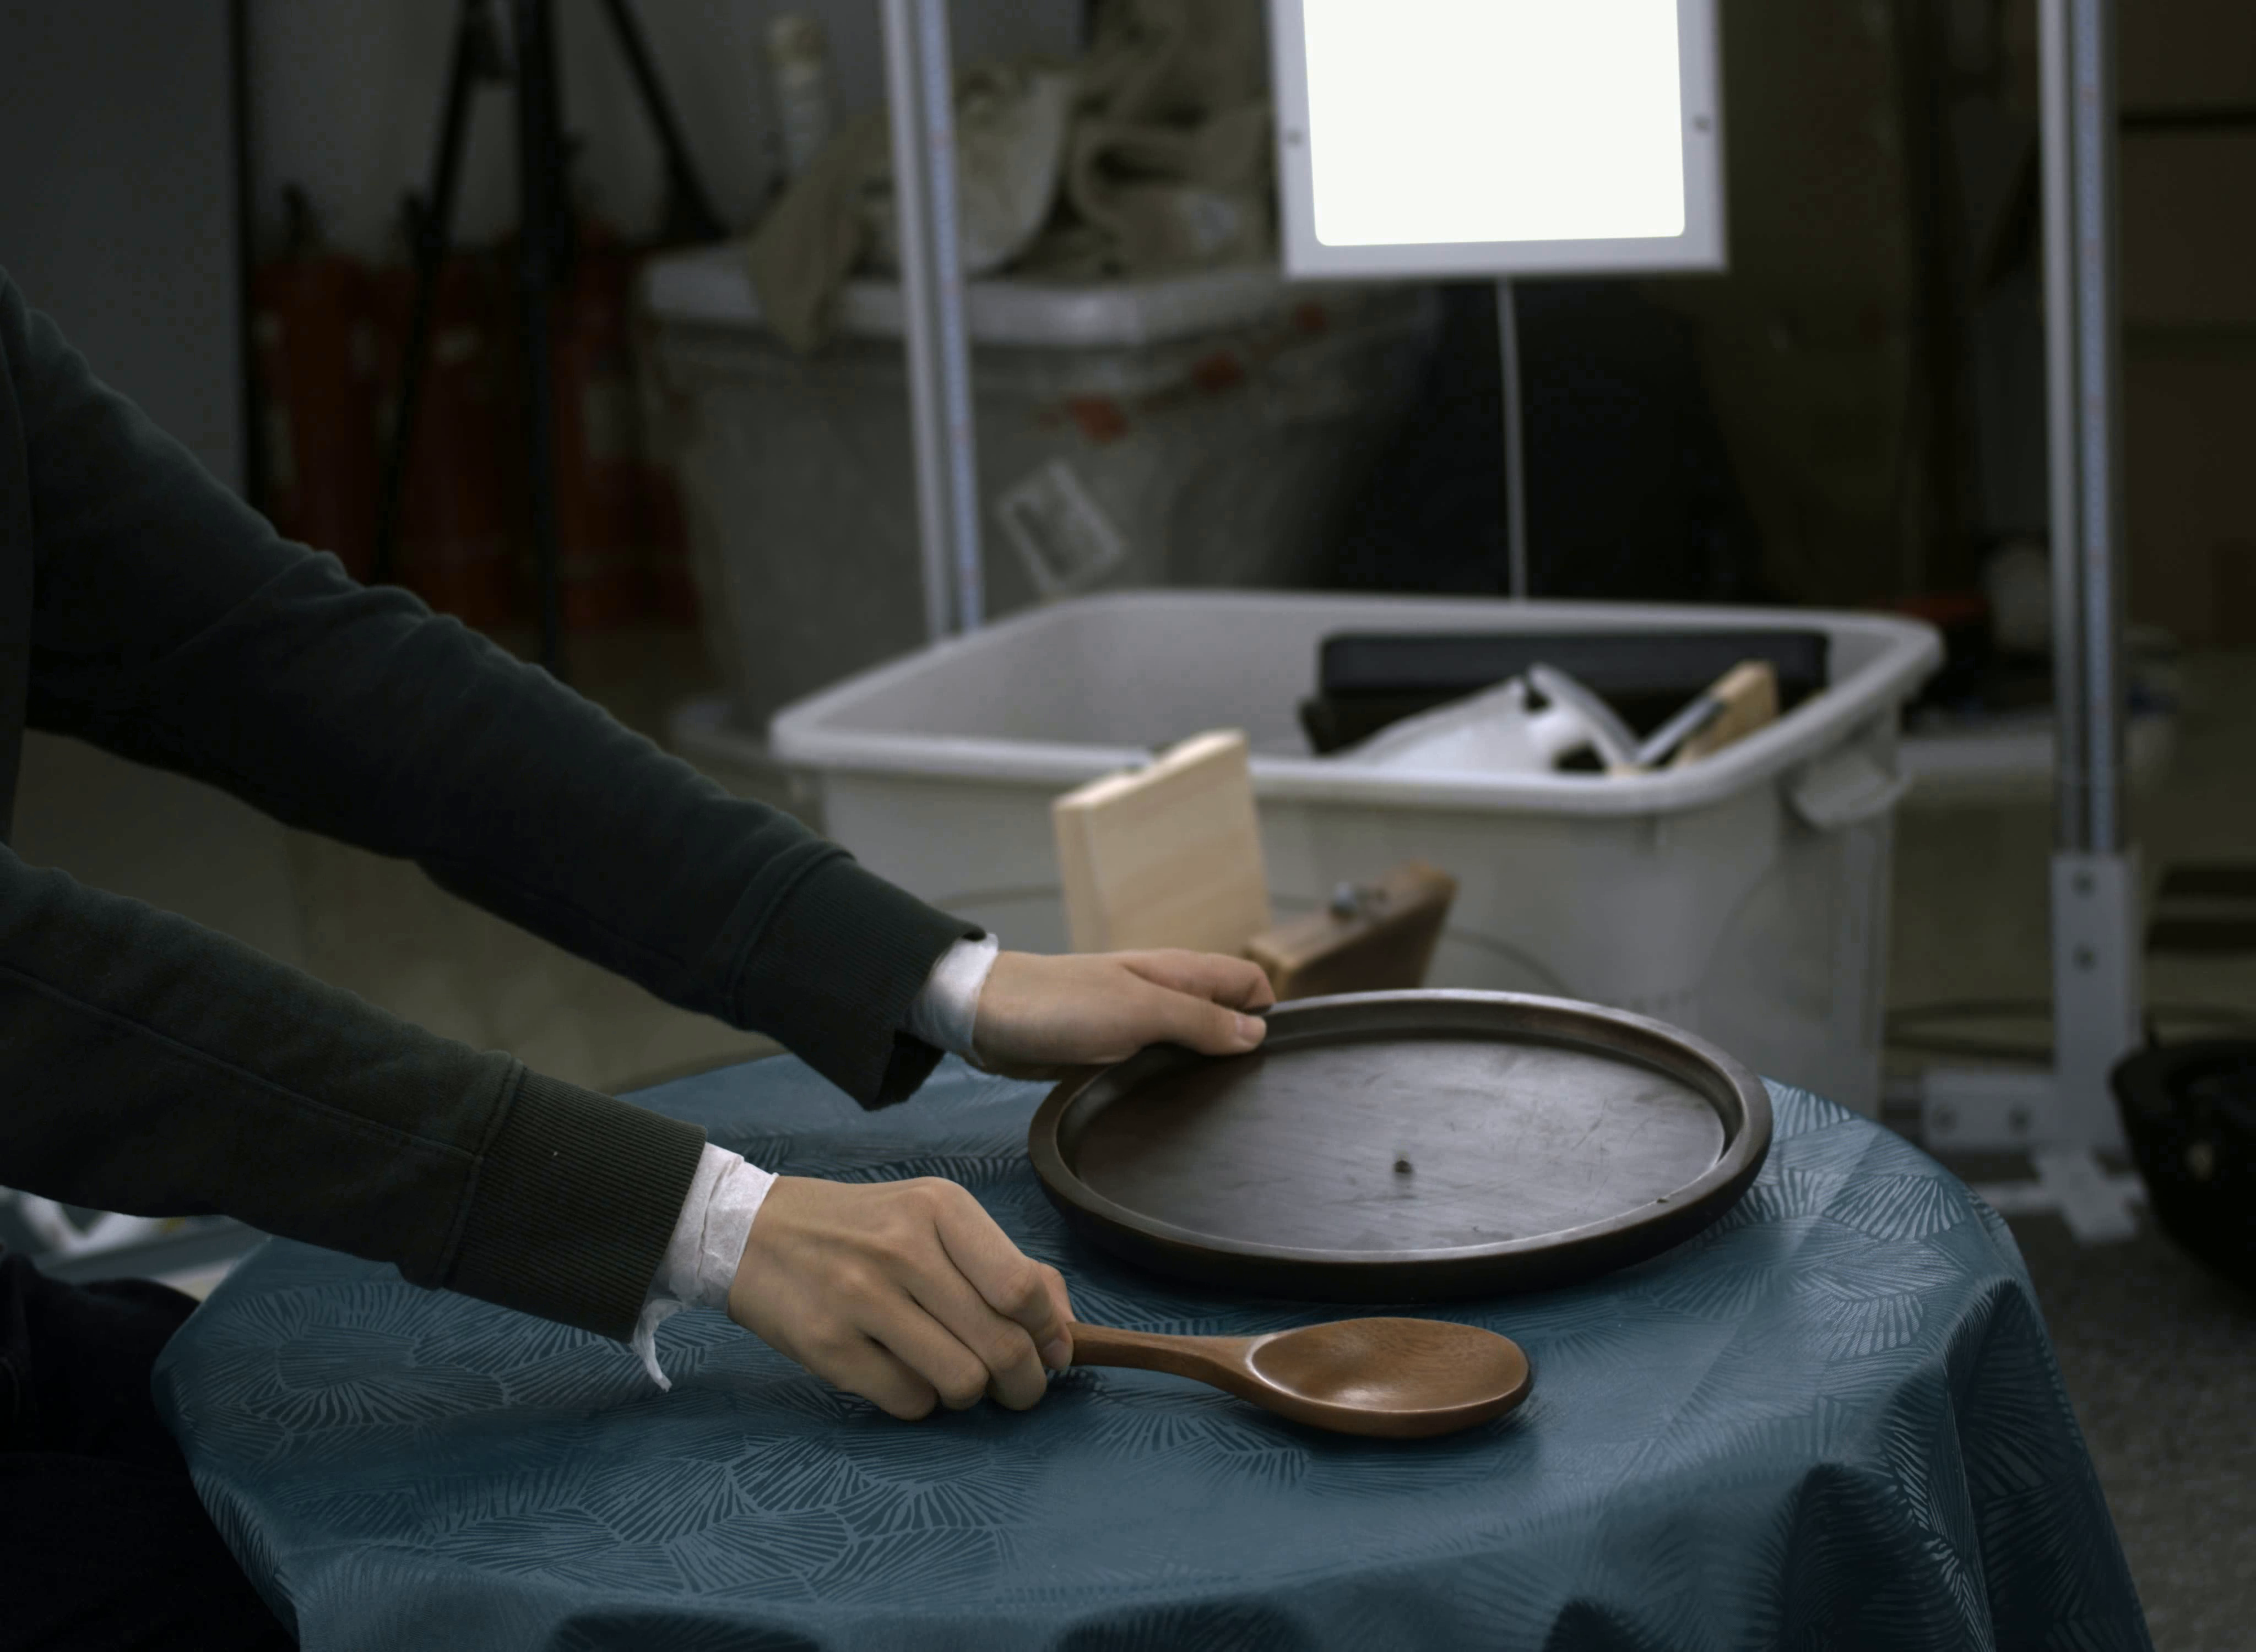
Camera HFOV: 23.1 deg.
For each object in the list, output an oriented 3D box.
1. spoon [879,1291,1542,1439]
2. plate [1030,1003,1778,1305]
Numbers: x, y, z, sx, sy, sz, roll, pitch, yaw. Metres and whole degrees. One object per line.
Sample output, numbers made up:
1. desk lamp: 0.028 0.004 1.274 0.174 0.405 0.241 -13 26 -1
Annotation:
1. spoon: 0.023 0.163 1.686 0.219 0.017 0.074 5 19 24
2. plate: 0.093 0.108 1.858 0.254 0.029 0.254 -3 17 0
